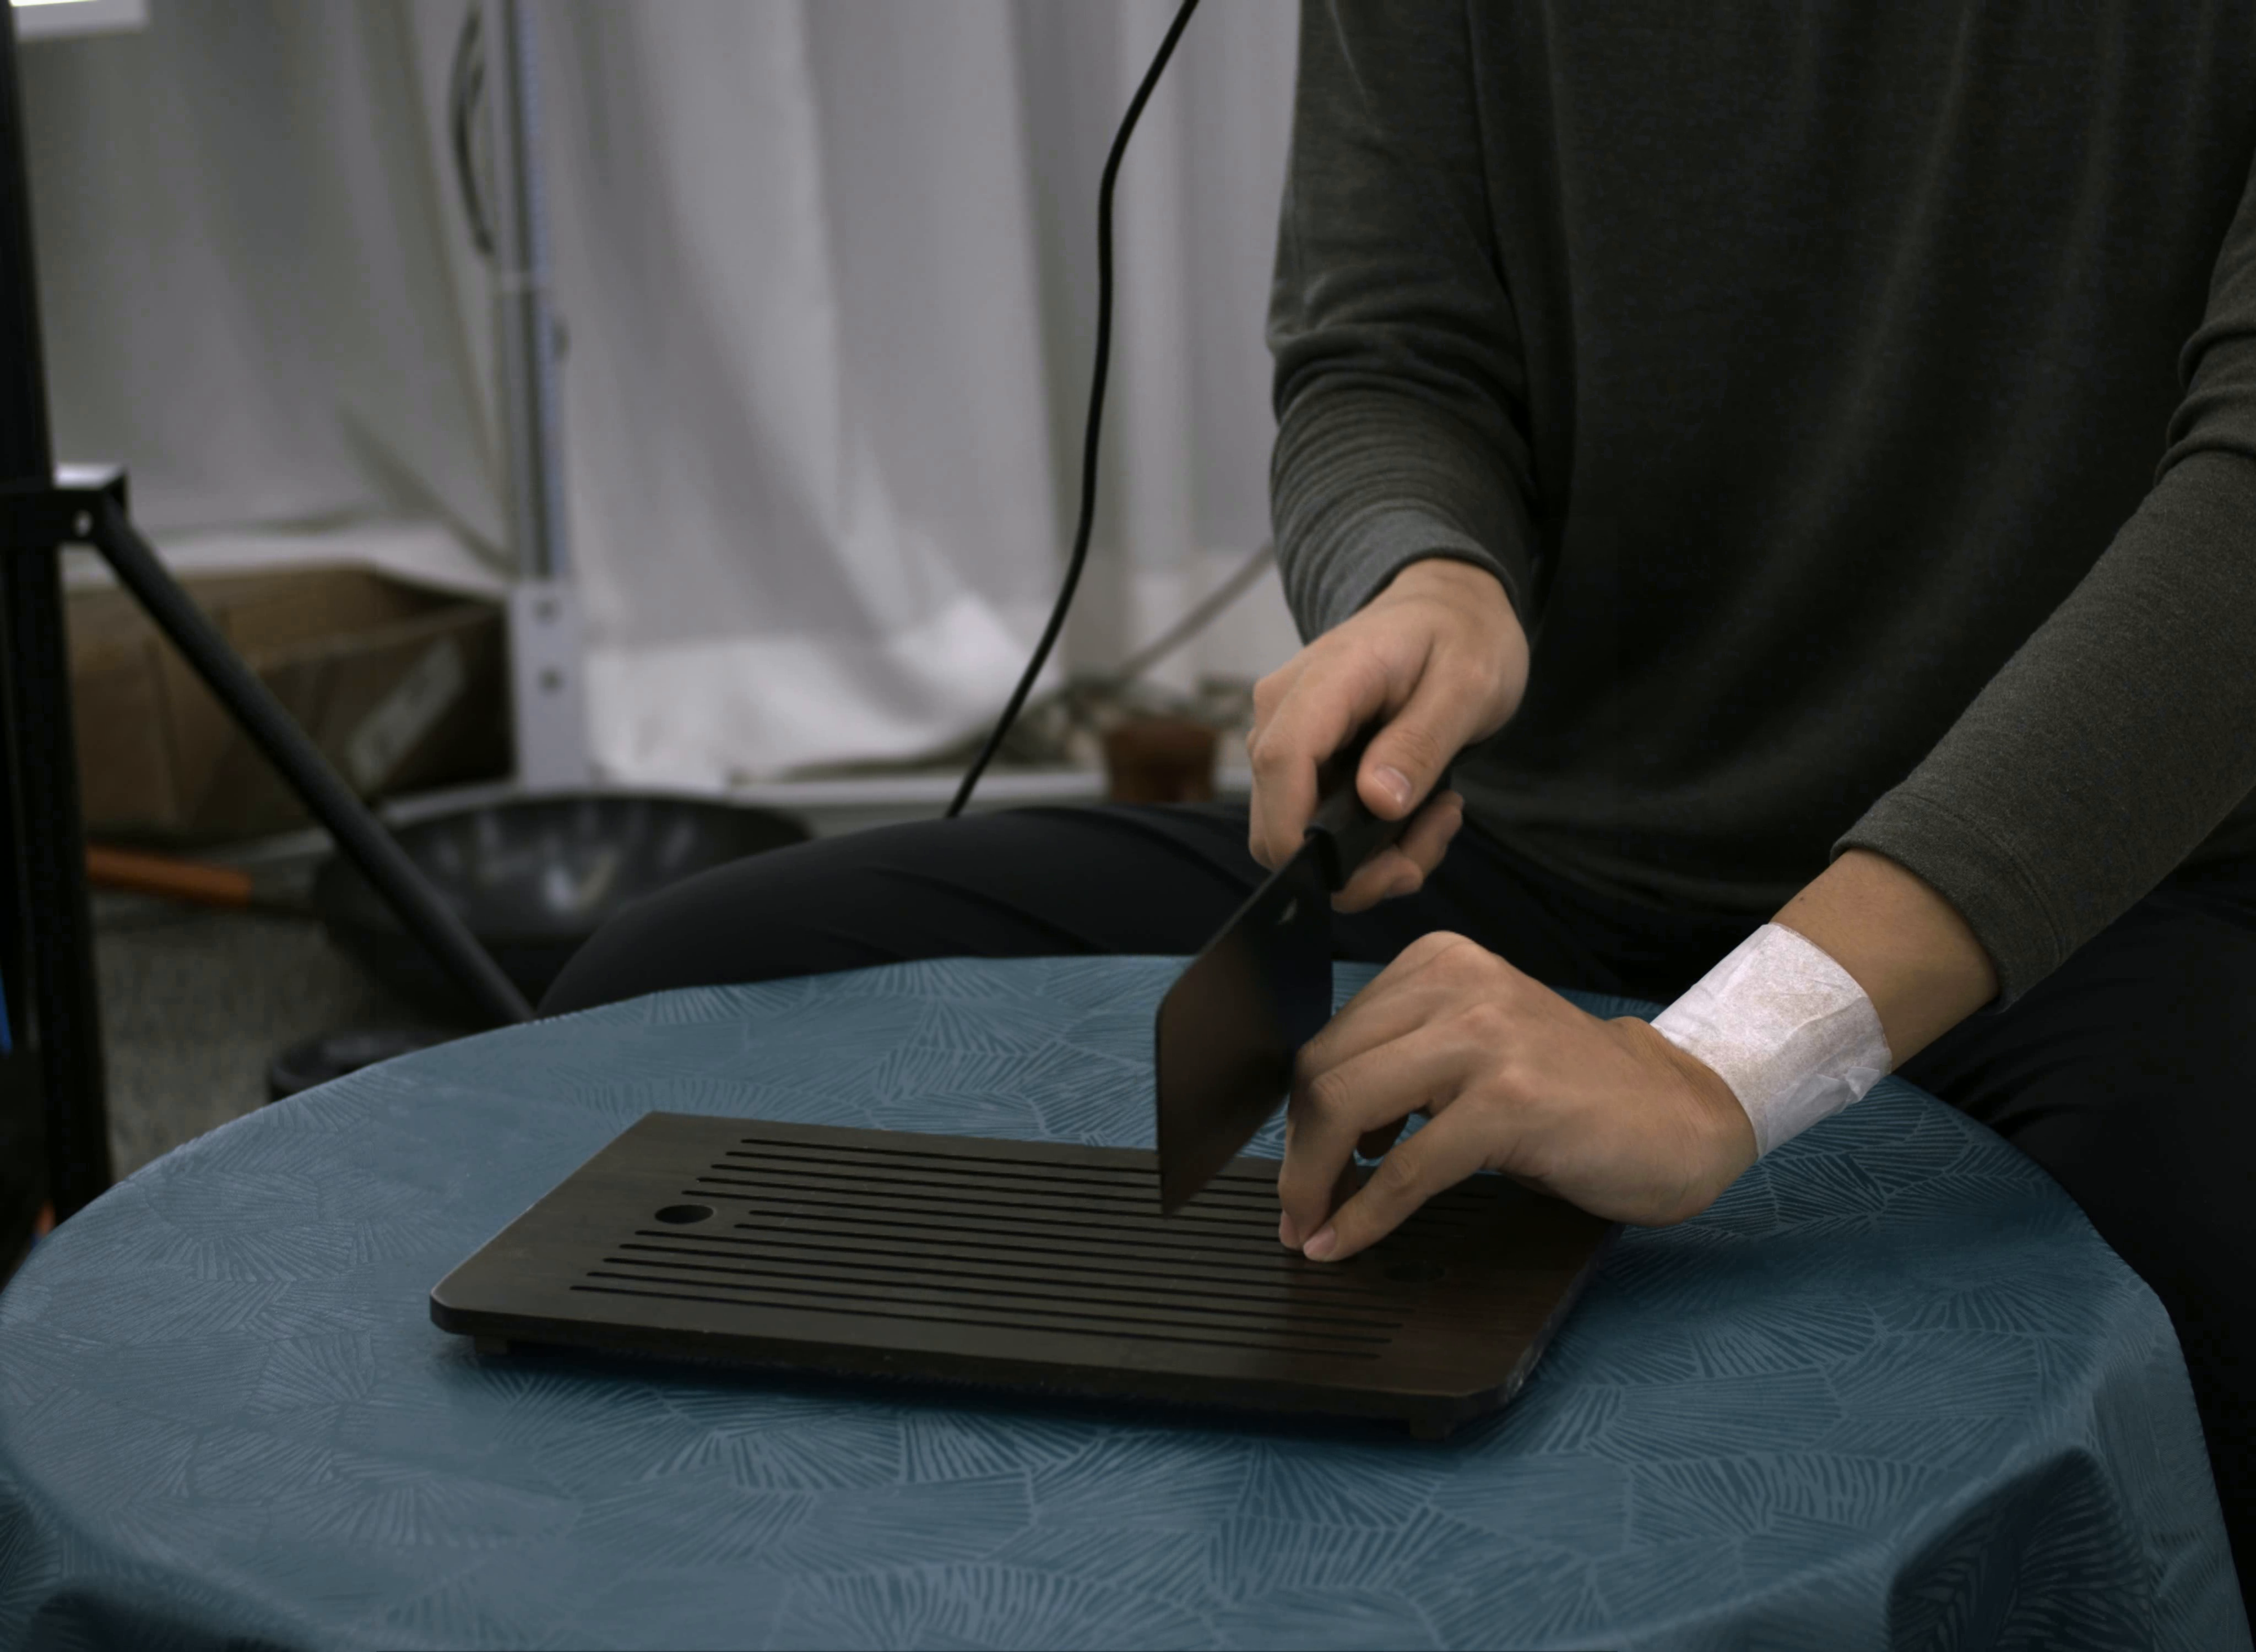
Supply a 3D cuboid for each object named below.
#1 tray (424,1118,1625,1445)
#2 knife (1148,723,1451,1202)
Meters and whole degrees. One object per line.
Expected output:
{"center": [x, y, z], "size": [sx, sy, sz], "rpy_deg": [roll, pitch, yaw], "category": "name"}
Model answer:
{"center": [-0.026, 0.124, 1.474], "size": [0.309, 0.018, 0.168], "rpy_deg": [4, 16, 19], "category": "tray"}
{"center": [0.048, 0.030, 1.489], "size": [0.021, 0.081, 0.300], "rpy_deg": [4, 20, 16], "category": "knife"}
